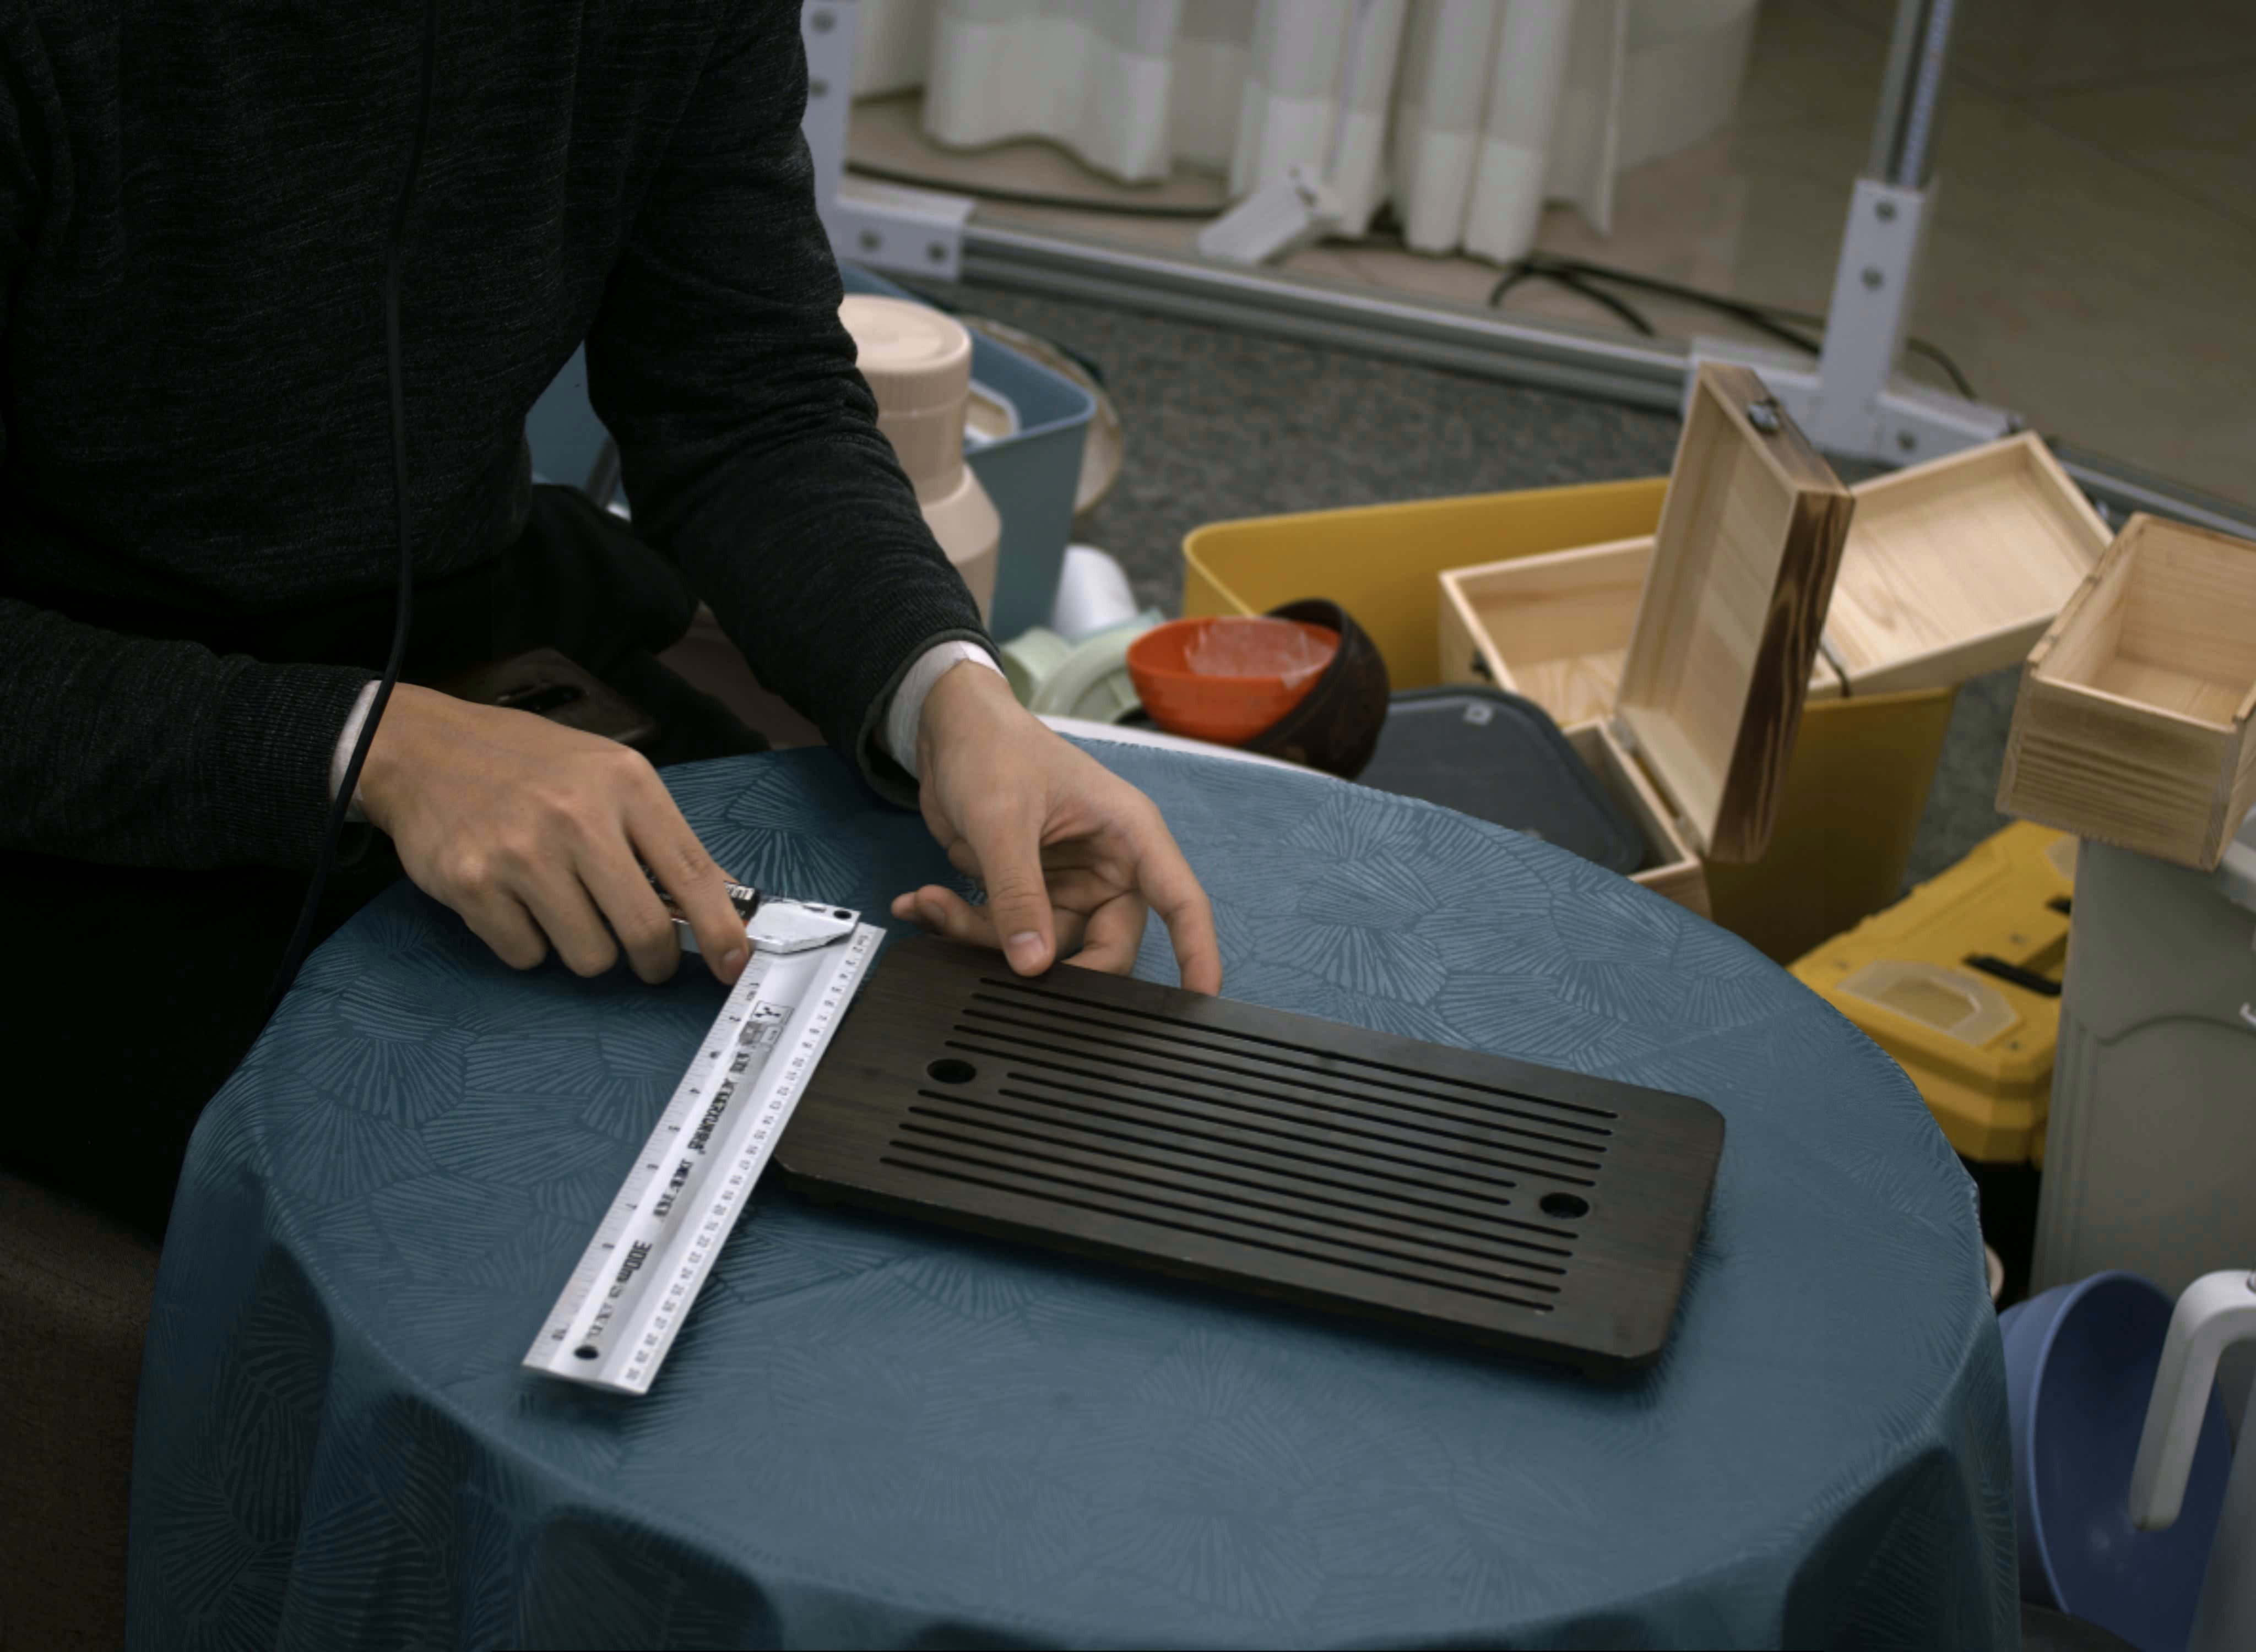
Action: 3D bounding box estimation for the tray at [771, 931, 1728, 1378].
[{"bbox_3d":[0.044,0.110,1.813,0.306,0.018,0.170,12,29,10],"label":"tray"}]

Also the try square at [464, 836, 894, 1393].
[{"bbox_3d":[-0.188,0.091,1.785,0.152,0.016,0.314,11,28,8],"label":"try square"}]
